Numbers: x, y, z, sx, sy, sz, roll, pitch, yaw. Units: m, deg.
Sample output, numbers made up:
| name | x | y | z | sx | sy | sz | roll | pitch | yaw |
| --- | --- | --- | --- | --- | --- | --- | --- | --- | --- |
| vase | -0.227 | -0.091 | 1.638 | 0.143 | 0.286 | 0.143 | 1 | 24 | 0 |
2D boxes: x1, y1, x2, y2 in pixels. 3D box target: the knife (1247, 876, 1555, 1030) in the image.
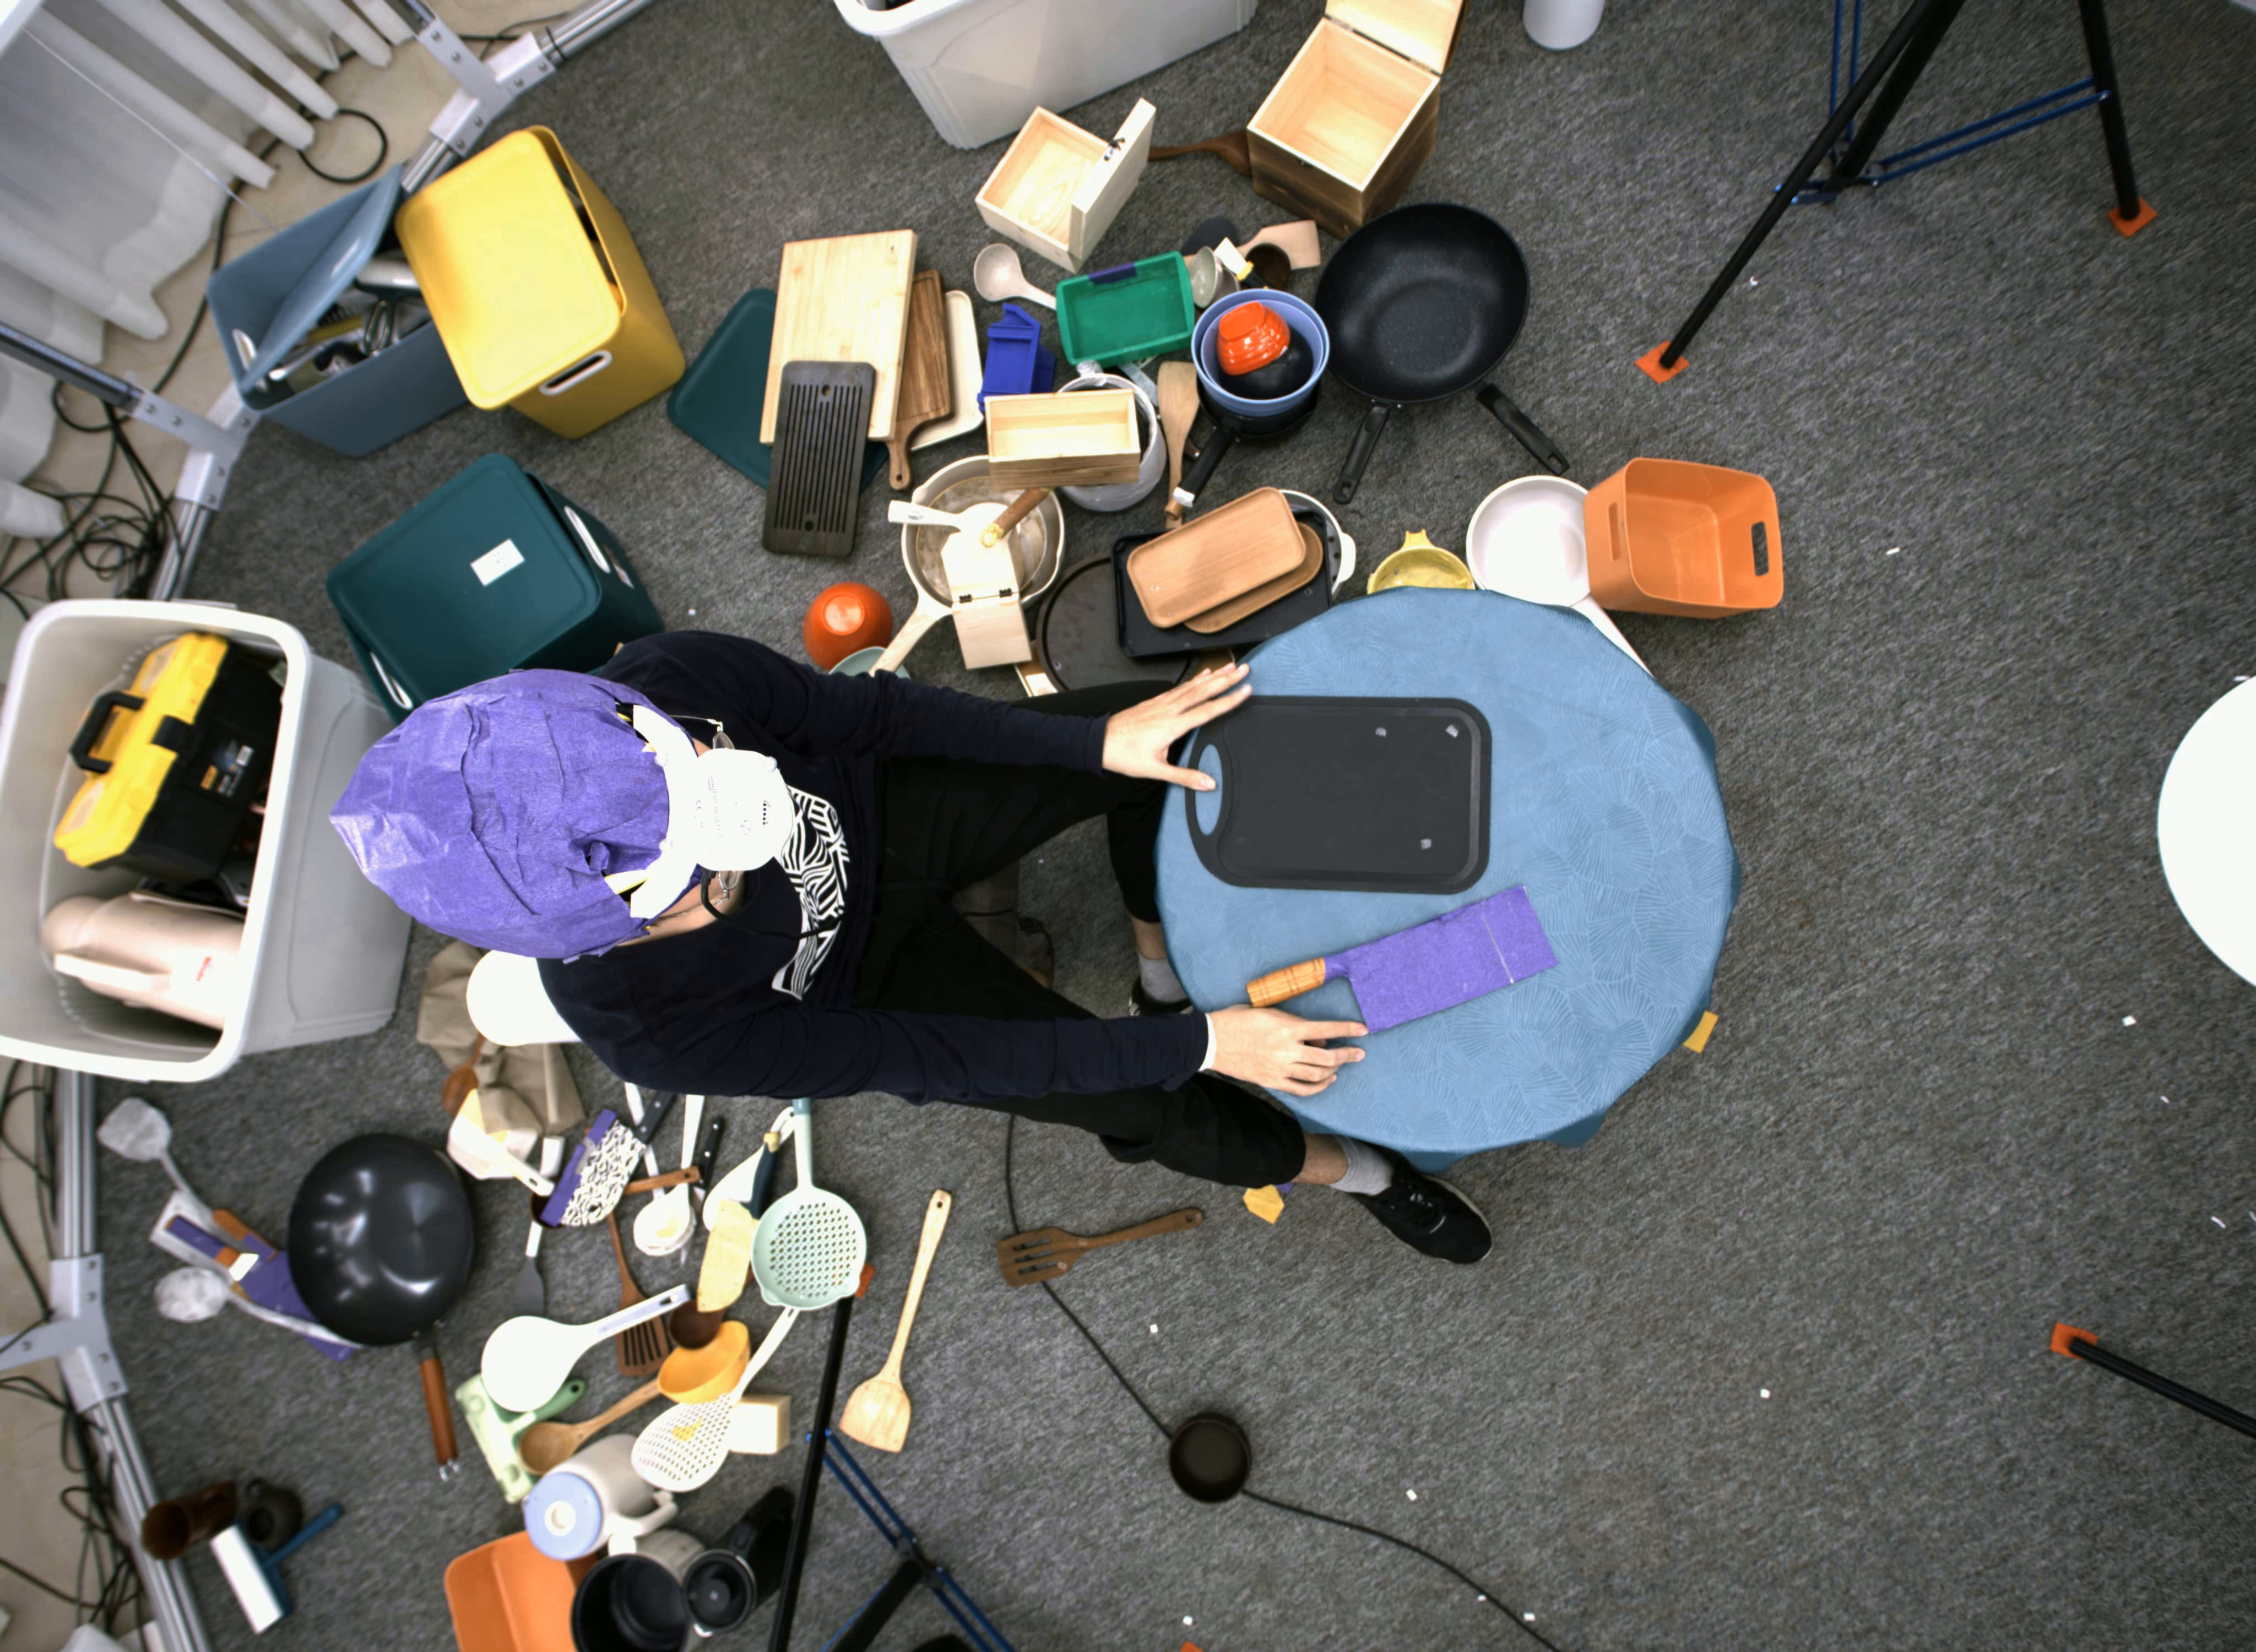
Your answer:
| name | x | y | z | sx | sy | sz | roll | pitch | yaw |
| --- | --- | --- | --- | --- | --- | --- | --- | --- | --- |
| knife | 0.285 | 0.153 | 1.439 | 0.317 | 0.032 | 0.103 | -22 | 82 | 8 |

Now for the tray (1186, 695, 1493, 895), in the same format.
| name | x | y | z | sx | sy | sz | roll | pitch | yaw |
| --- | --- | --- | --- | --- | --- | --- | --- | --- | --- |
| tray | 0.223 | -0.036 | 1.472 | 0.326 | 0.010 | 0.210 | 2 | 87 | 11 |
